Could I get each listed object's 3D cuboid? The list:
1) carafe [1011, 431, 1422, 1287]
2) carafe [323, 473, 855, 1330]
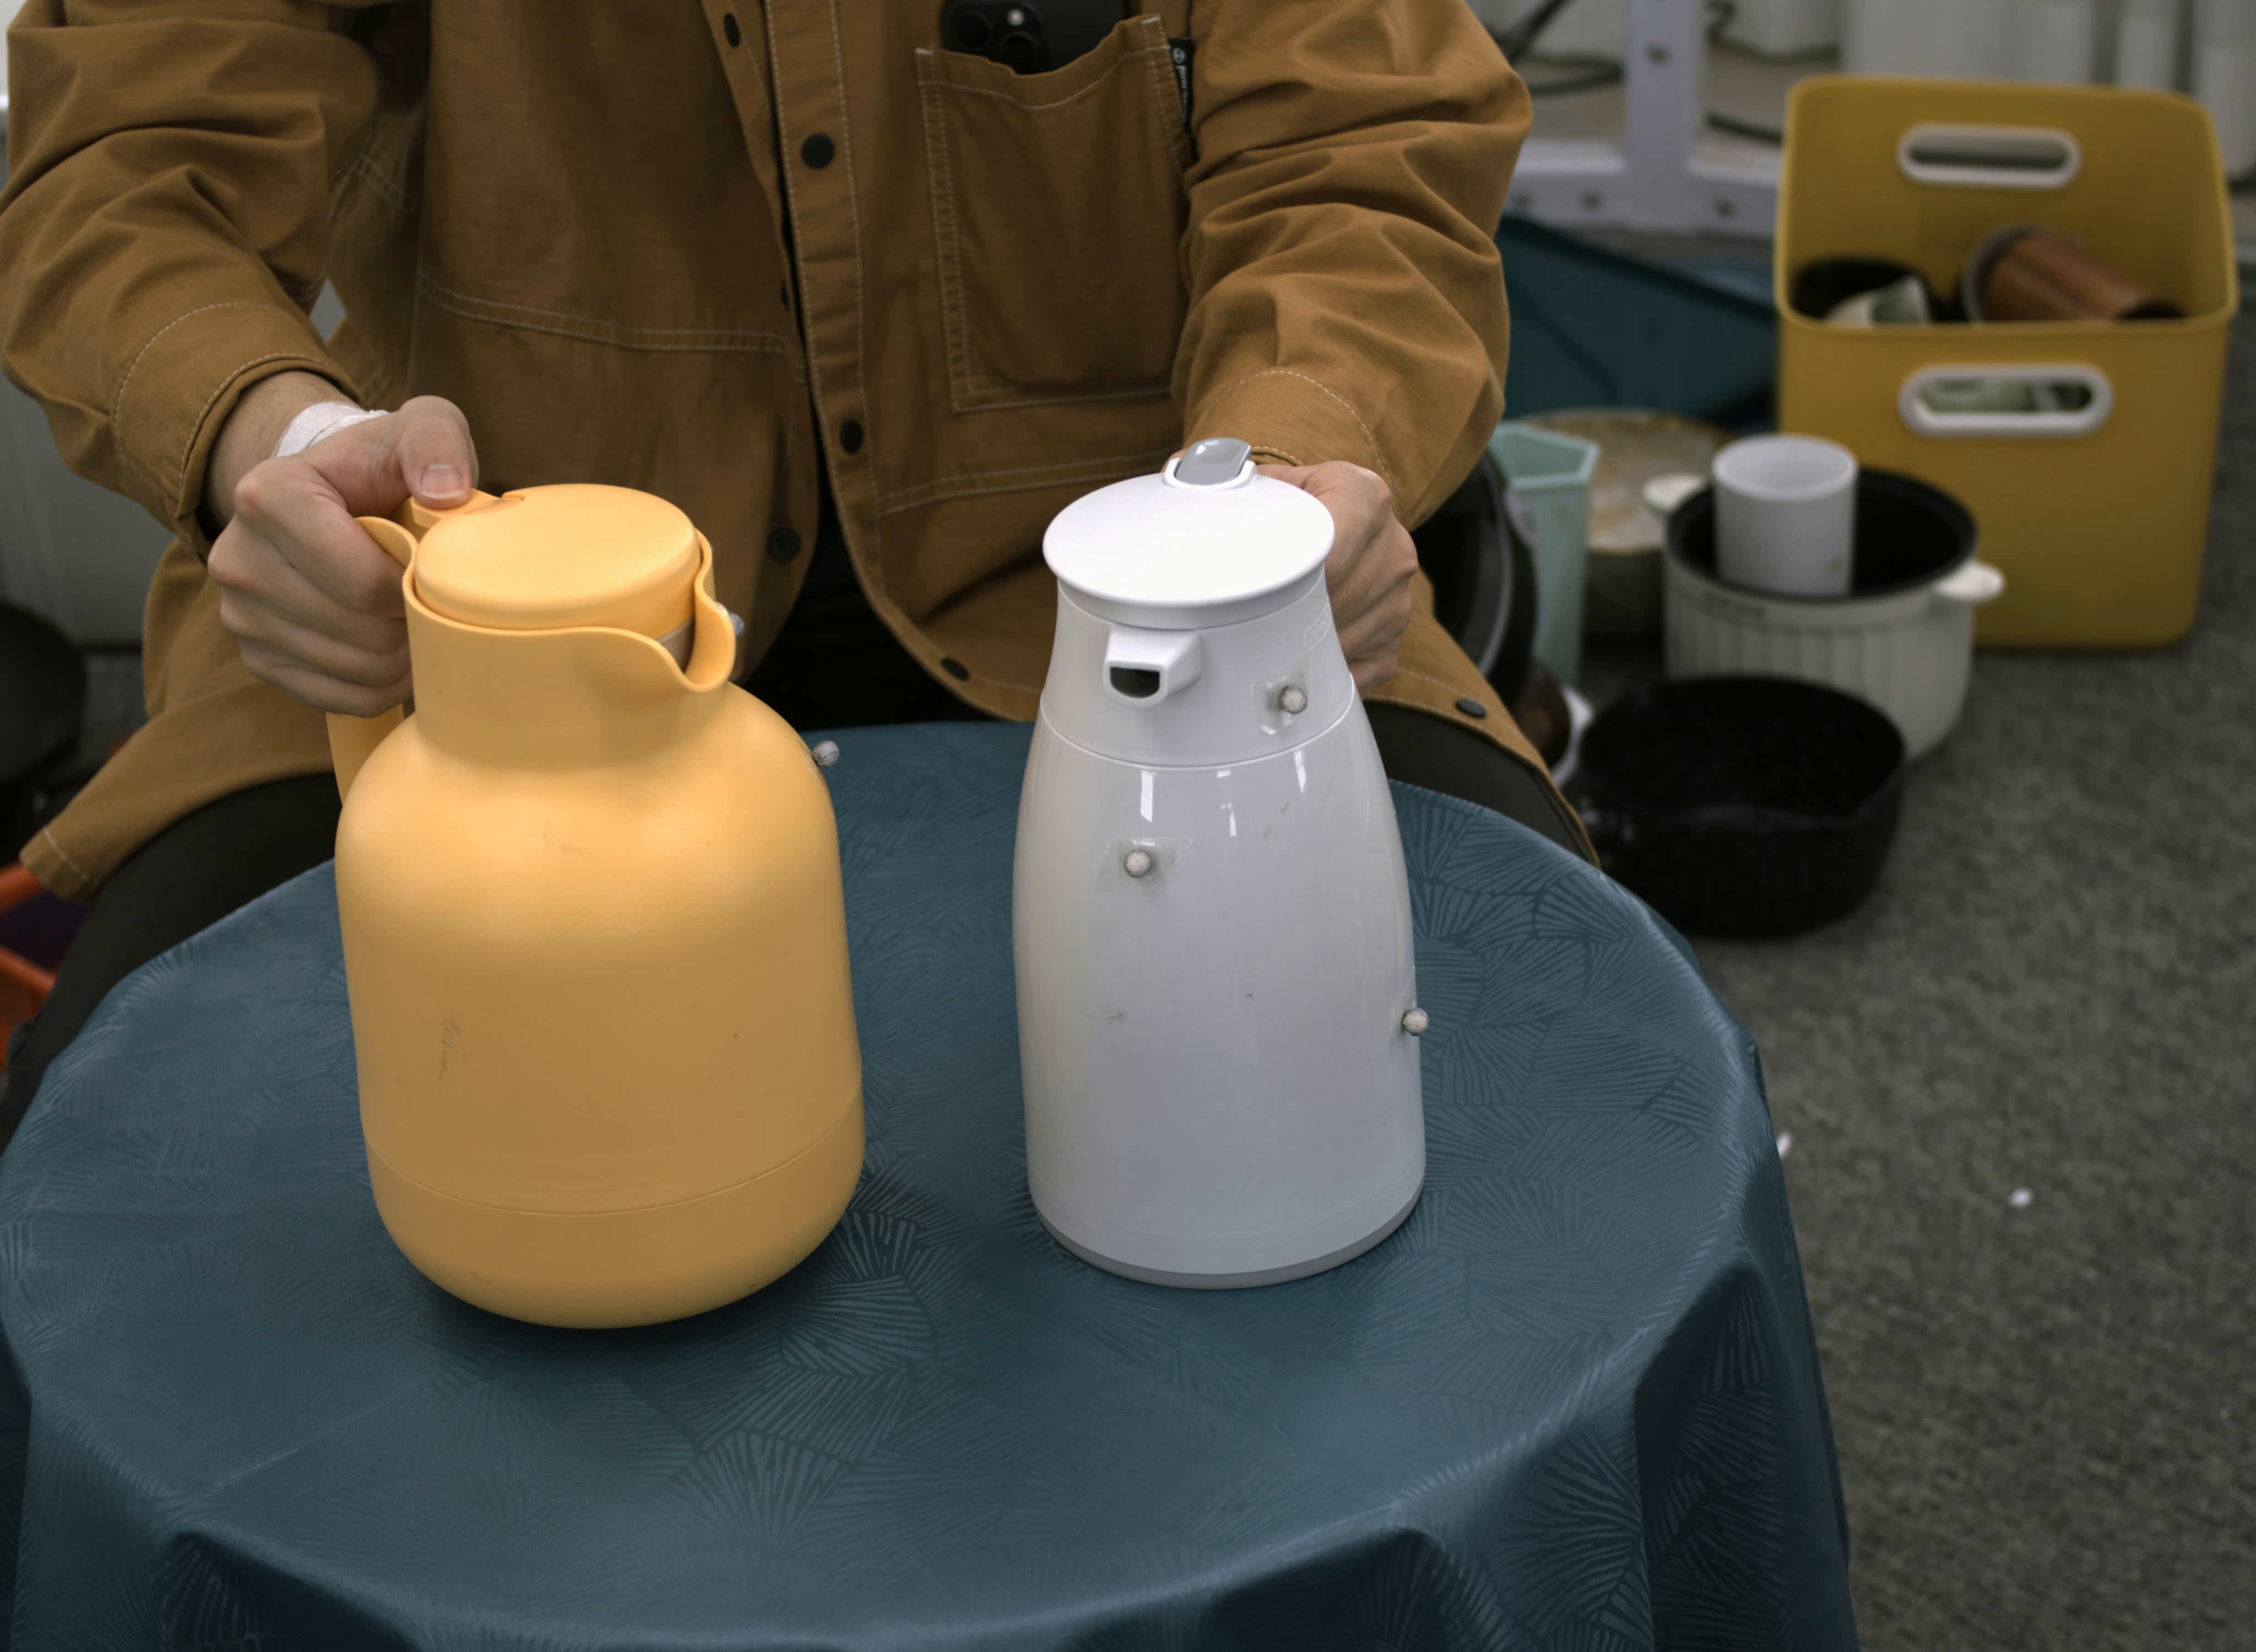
[{"bbox_3d":[0.029,0.000,1.820,0.131,0.246,0.170,4,28,15],"label":"carafe"},{"bbox_3d":[-0.184,0.014,1.806,0.165,0.258,0.202,-21,32,-37],"label":"carafe"}]
